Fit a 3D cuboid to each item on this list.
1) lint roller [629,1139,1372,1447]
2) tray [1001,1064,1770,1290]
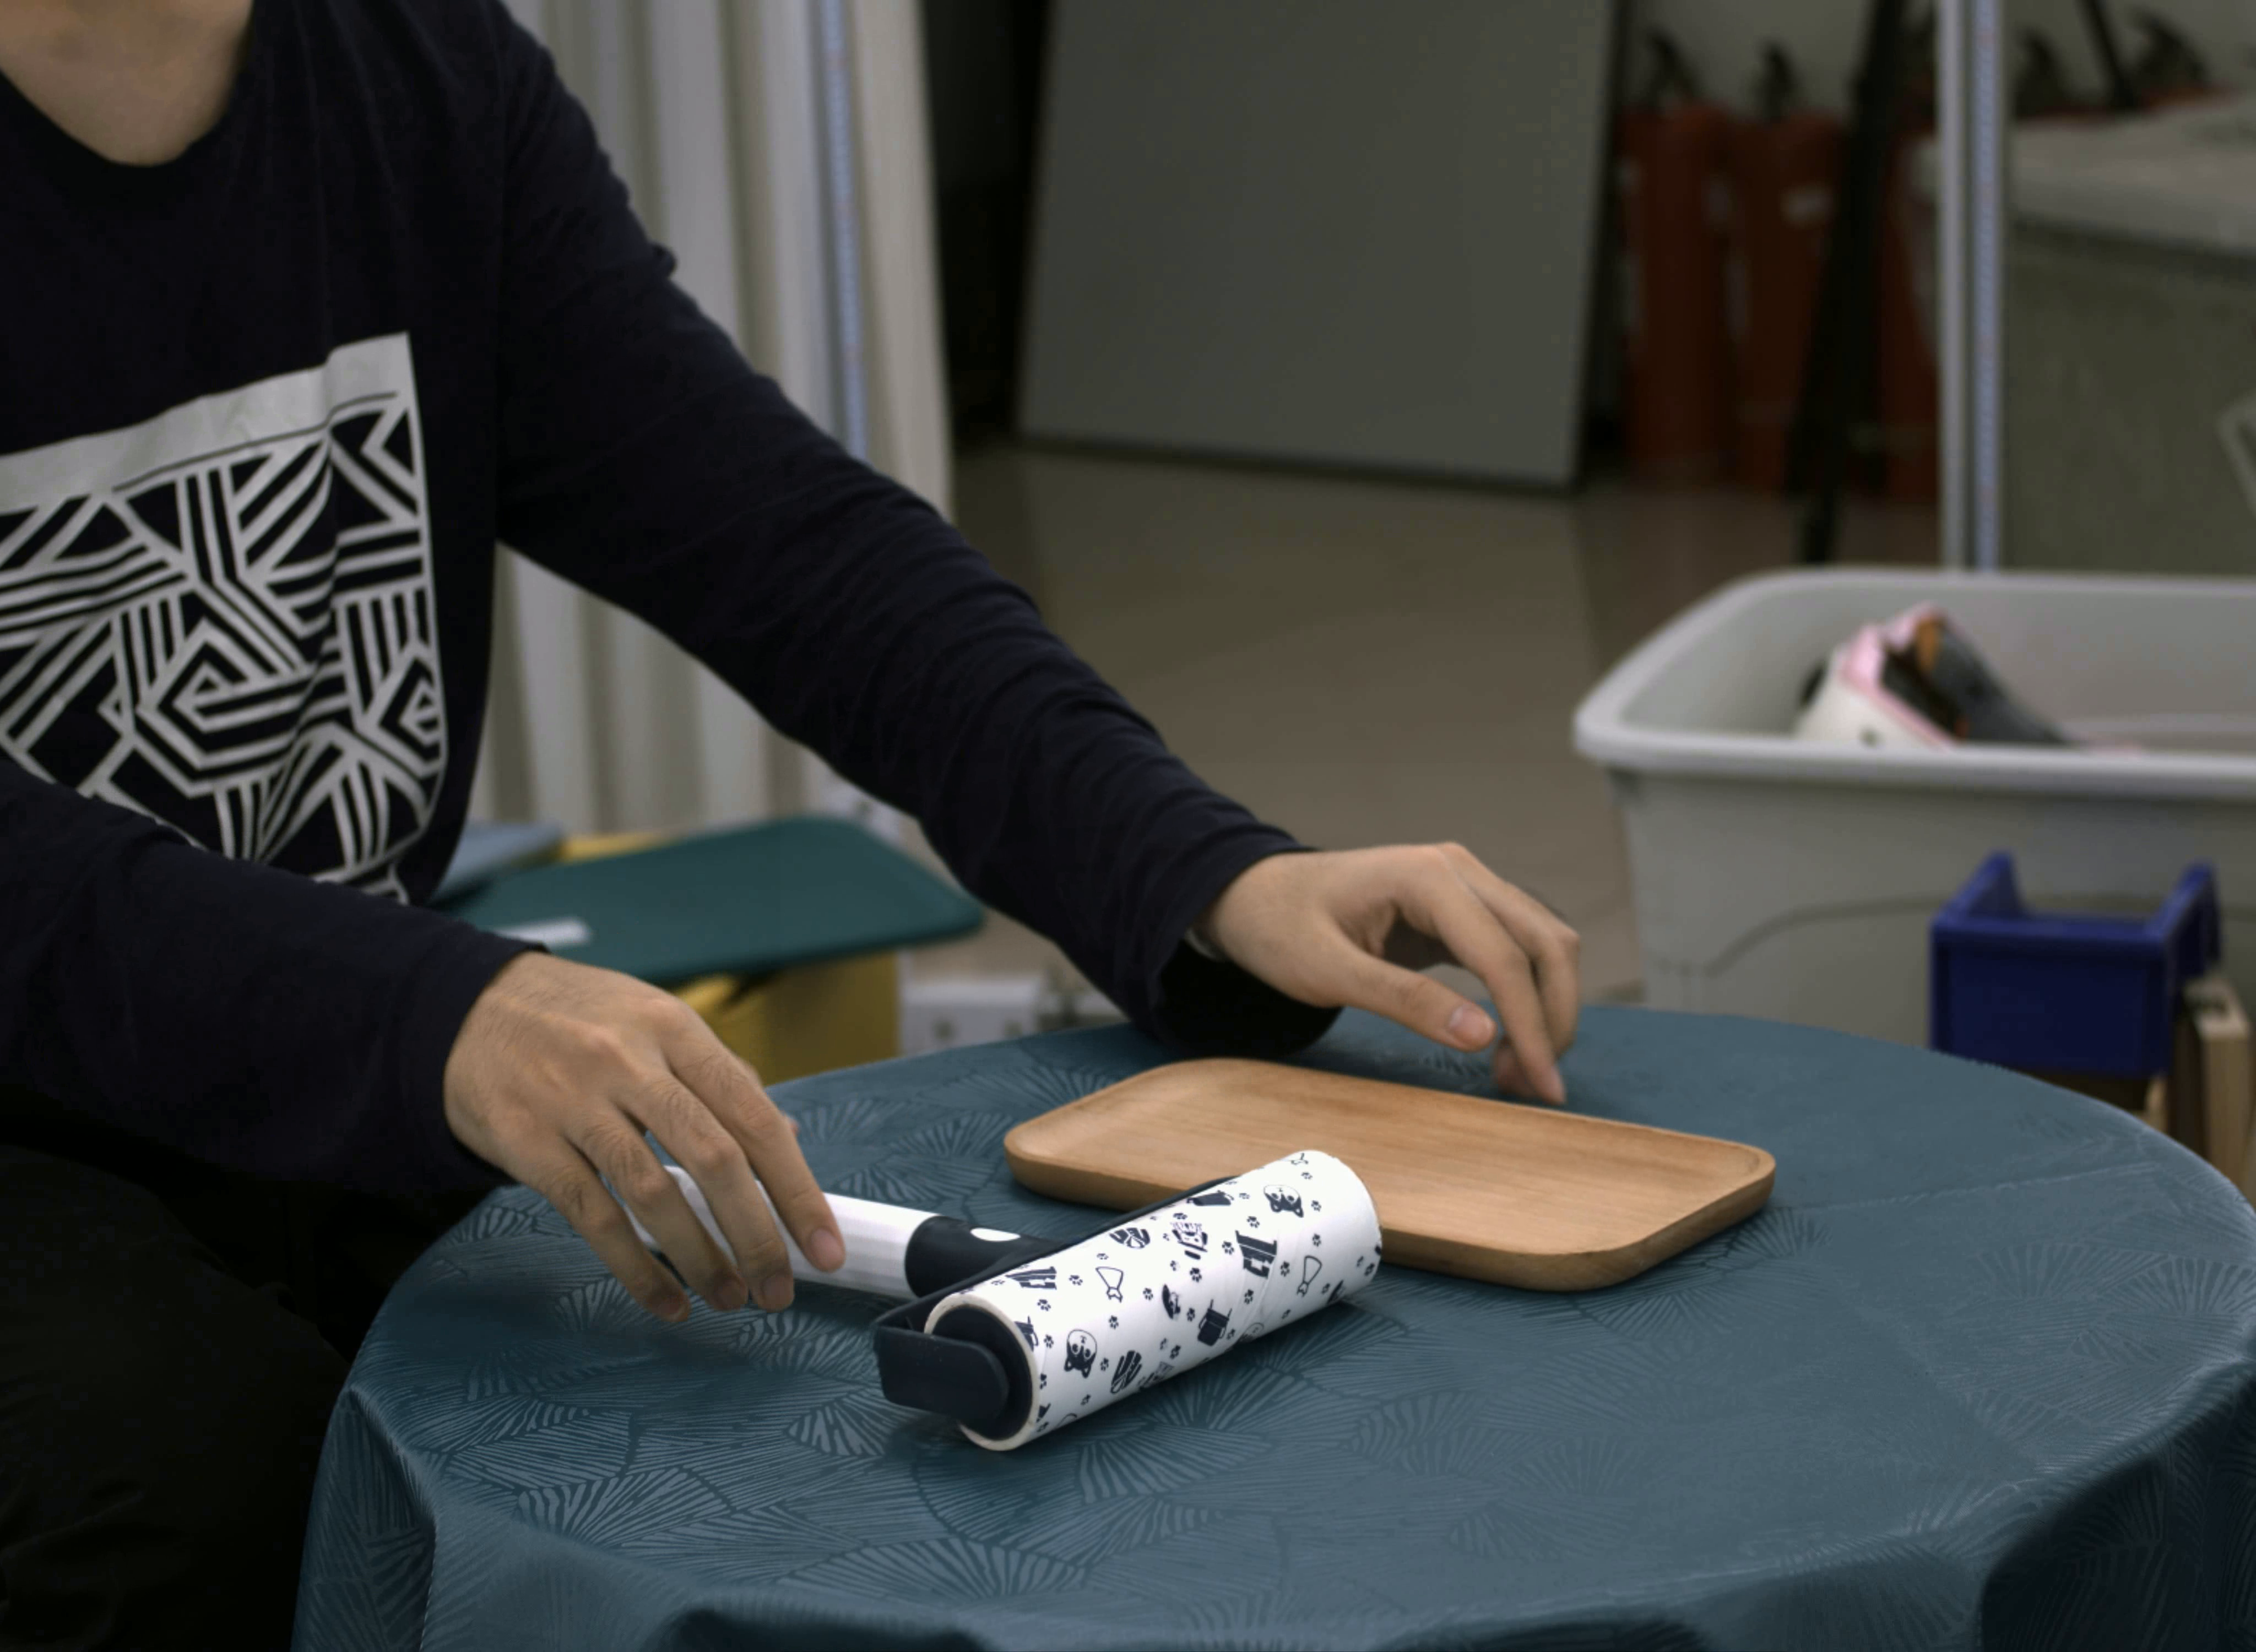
[{"bbox_3d":[-0.067,0.133,1.664,0.249,0.051,0.173,4,16,42],"label":"lint roller"},{"bbox_3d":[0.082,0.113,1.753,0.253,0.023,0.128,6,14,41],"label":"tray"}]
